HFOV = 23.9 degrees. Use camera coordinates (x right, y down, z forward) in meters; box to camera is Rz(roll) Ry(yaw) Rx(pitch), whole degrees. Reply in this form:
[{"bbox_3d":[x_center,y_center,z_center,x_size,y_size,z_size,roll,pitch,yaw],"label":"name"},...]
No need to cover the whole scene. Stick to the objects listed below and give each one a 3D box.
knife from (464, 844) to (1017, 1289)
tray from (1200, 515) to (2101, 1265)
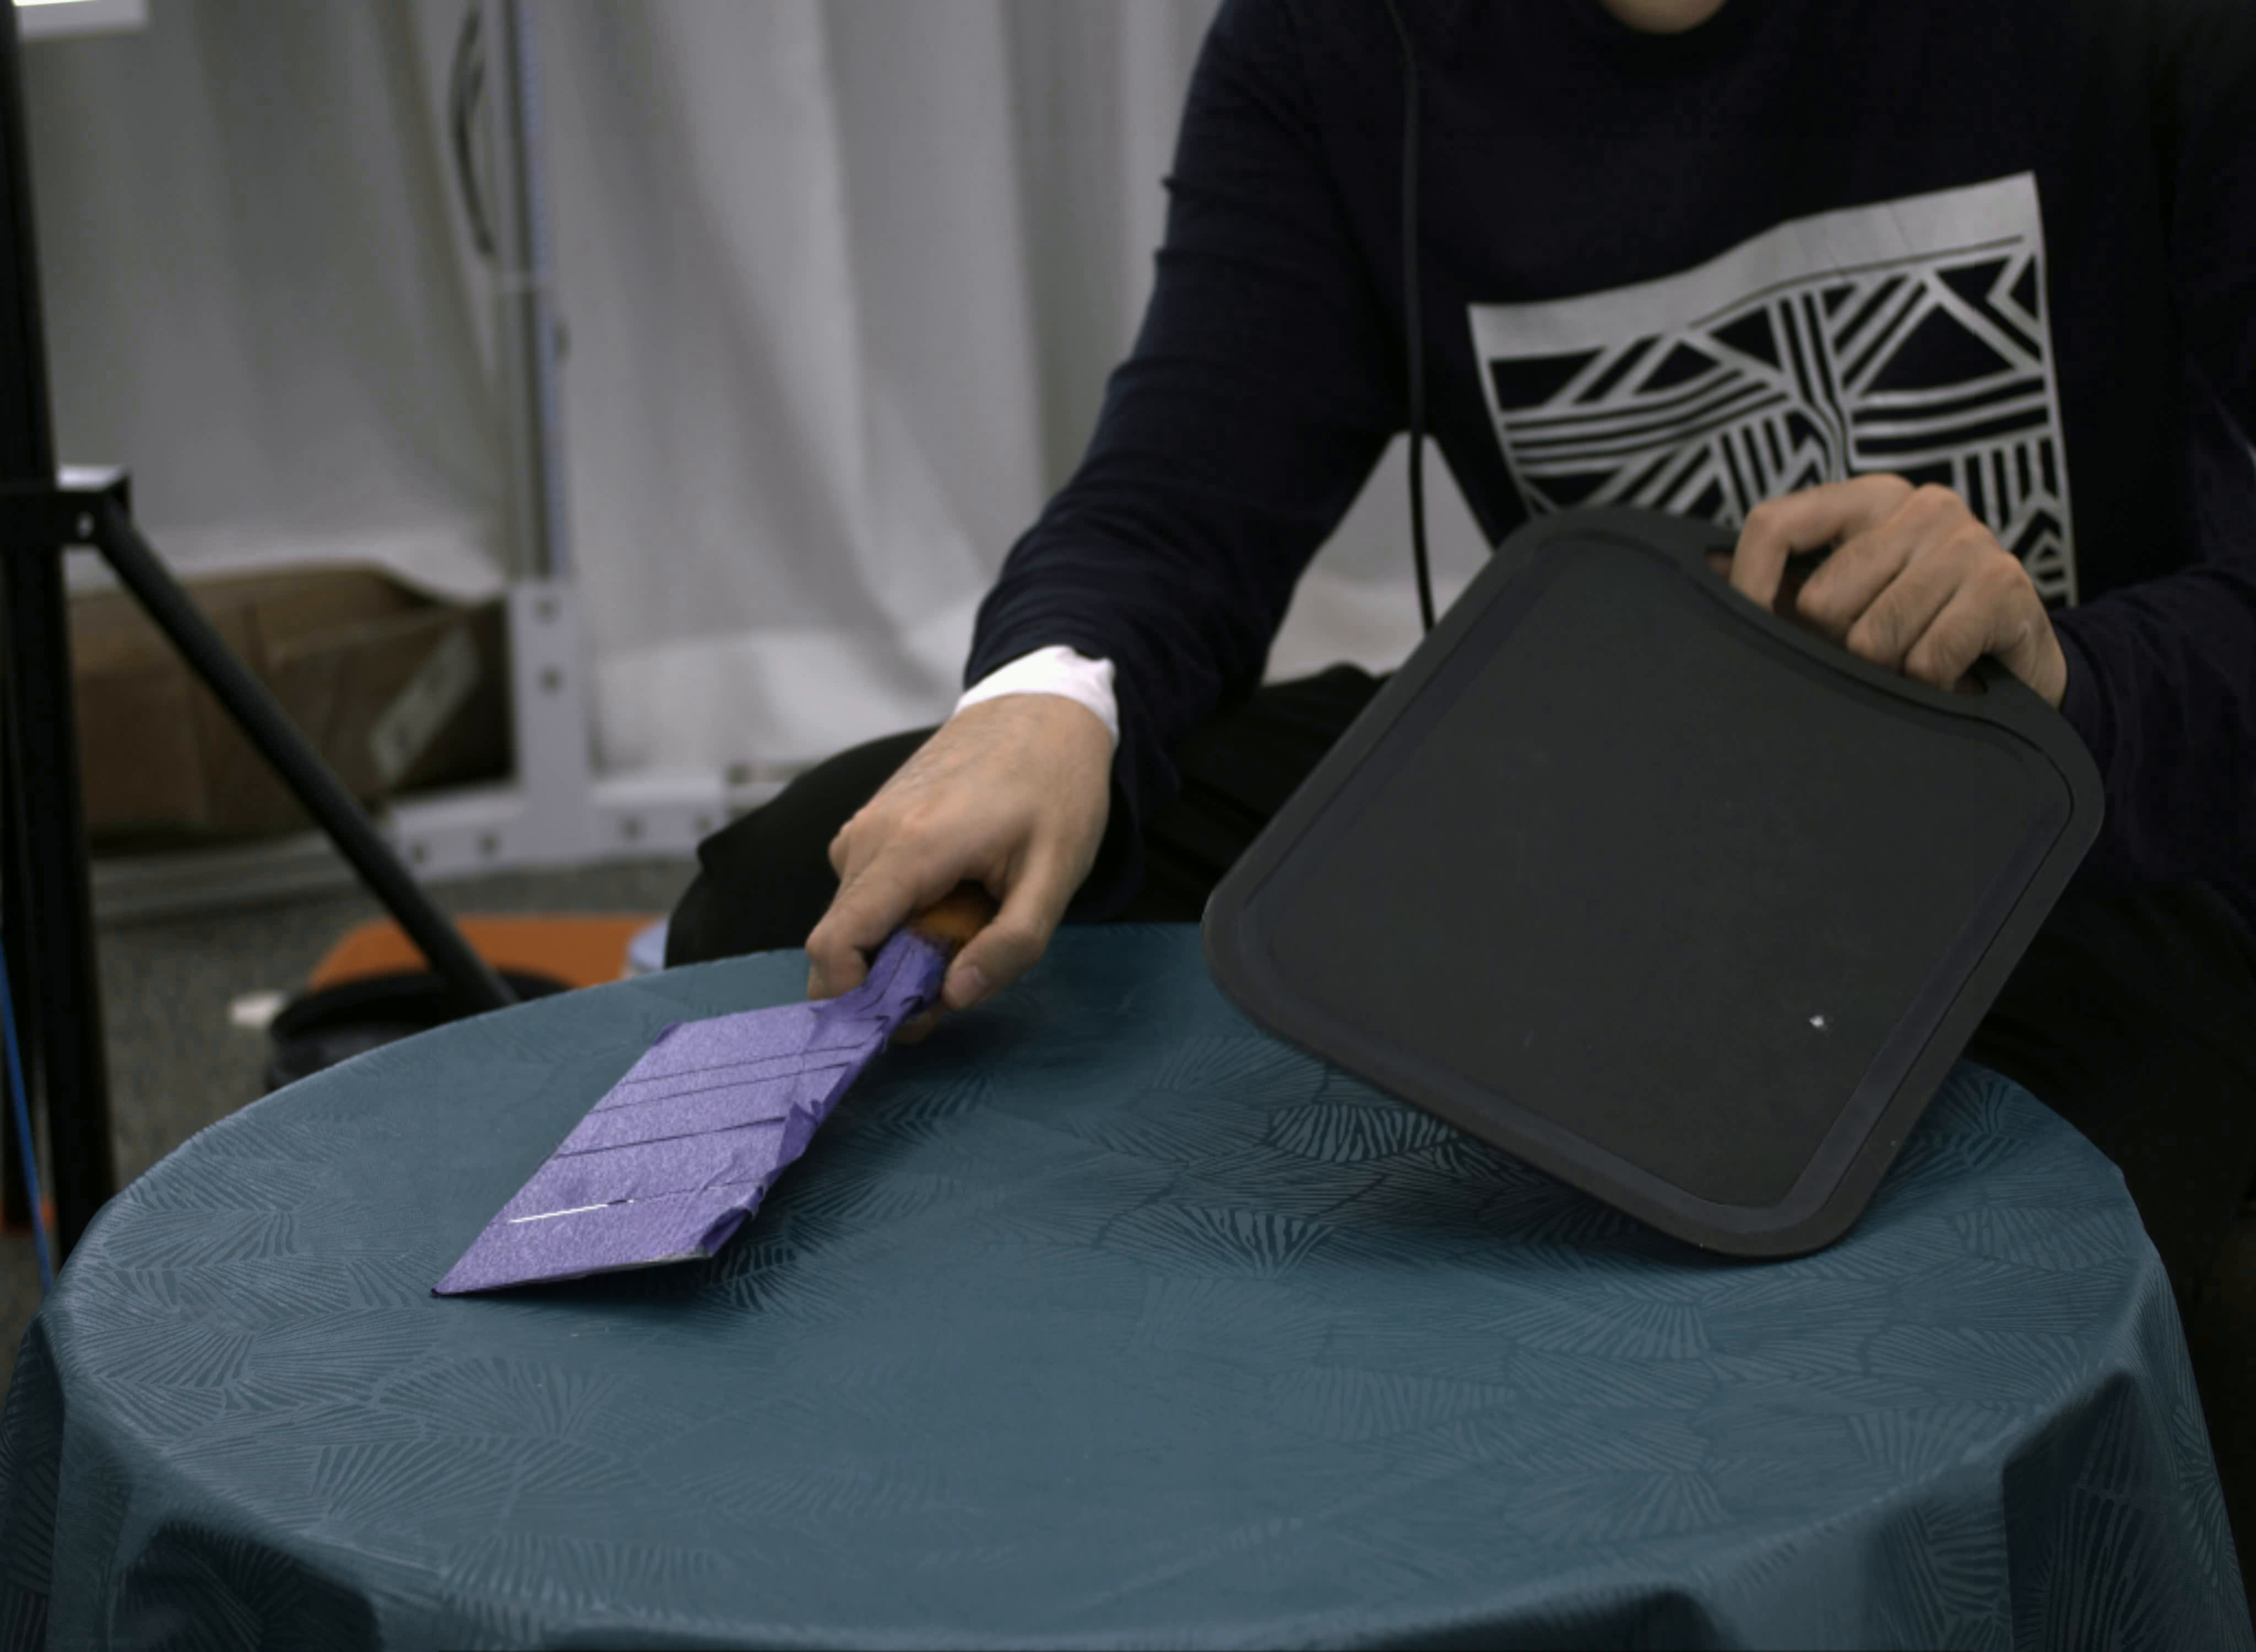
[{"bbox_3d":[-0.116,0.070,1.625,0.105,0.032,0.313,-9,15,18],"label":"knife"},{"bbox_3d":[0.168,0.006,1.611,0.213,0.010,0.322,26,42,16],"label":"tray"}]
